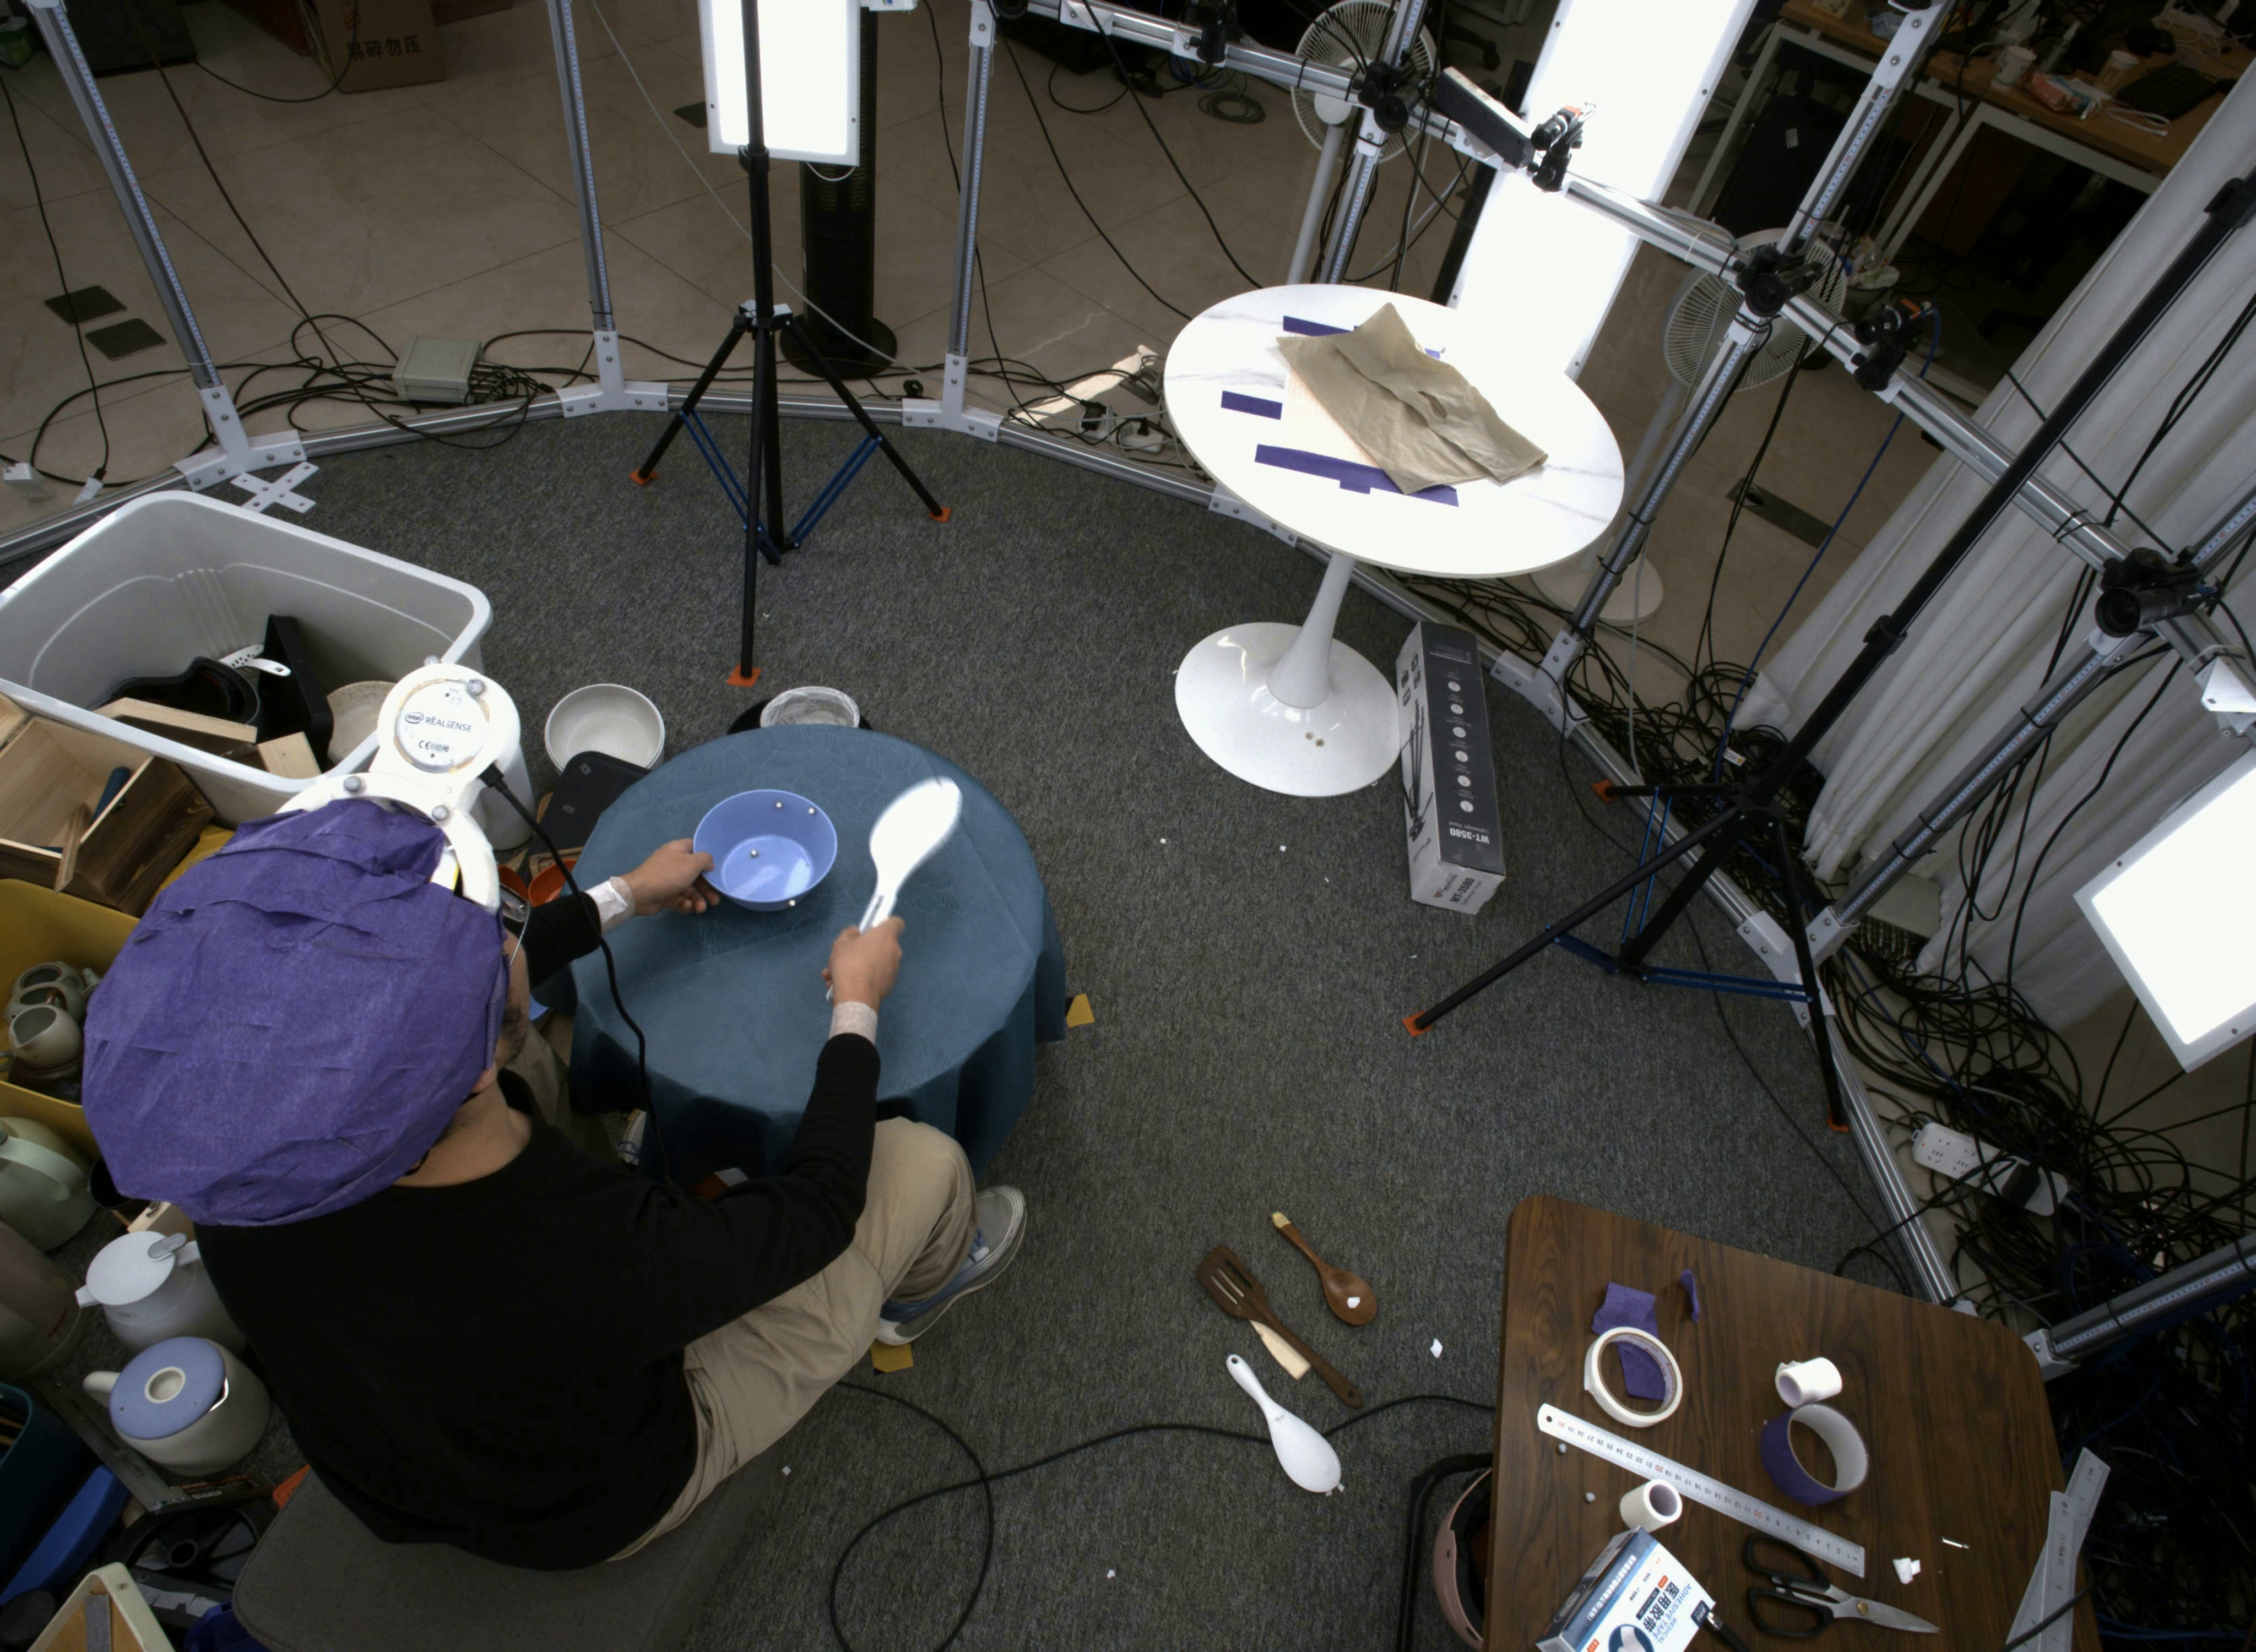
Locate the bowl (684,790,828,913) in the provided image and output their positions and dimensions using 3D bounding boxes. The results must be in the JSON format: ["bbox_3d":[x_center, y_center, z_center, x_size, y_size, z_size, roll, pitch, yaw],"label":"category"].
[{"bbox_3d":[-0.466,0.041,1.631,0.175,0.072,0.173,7,53,-8],"label":"bowl"}]

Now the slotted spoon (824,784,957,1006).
[{"bbox_3d":[-0.293,0.075,1.573,0.133,0.047,0.345,-14,34,28],"label":"slotted spoon"}]
